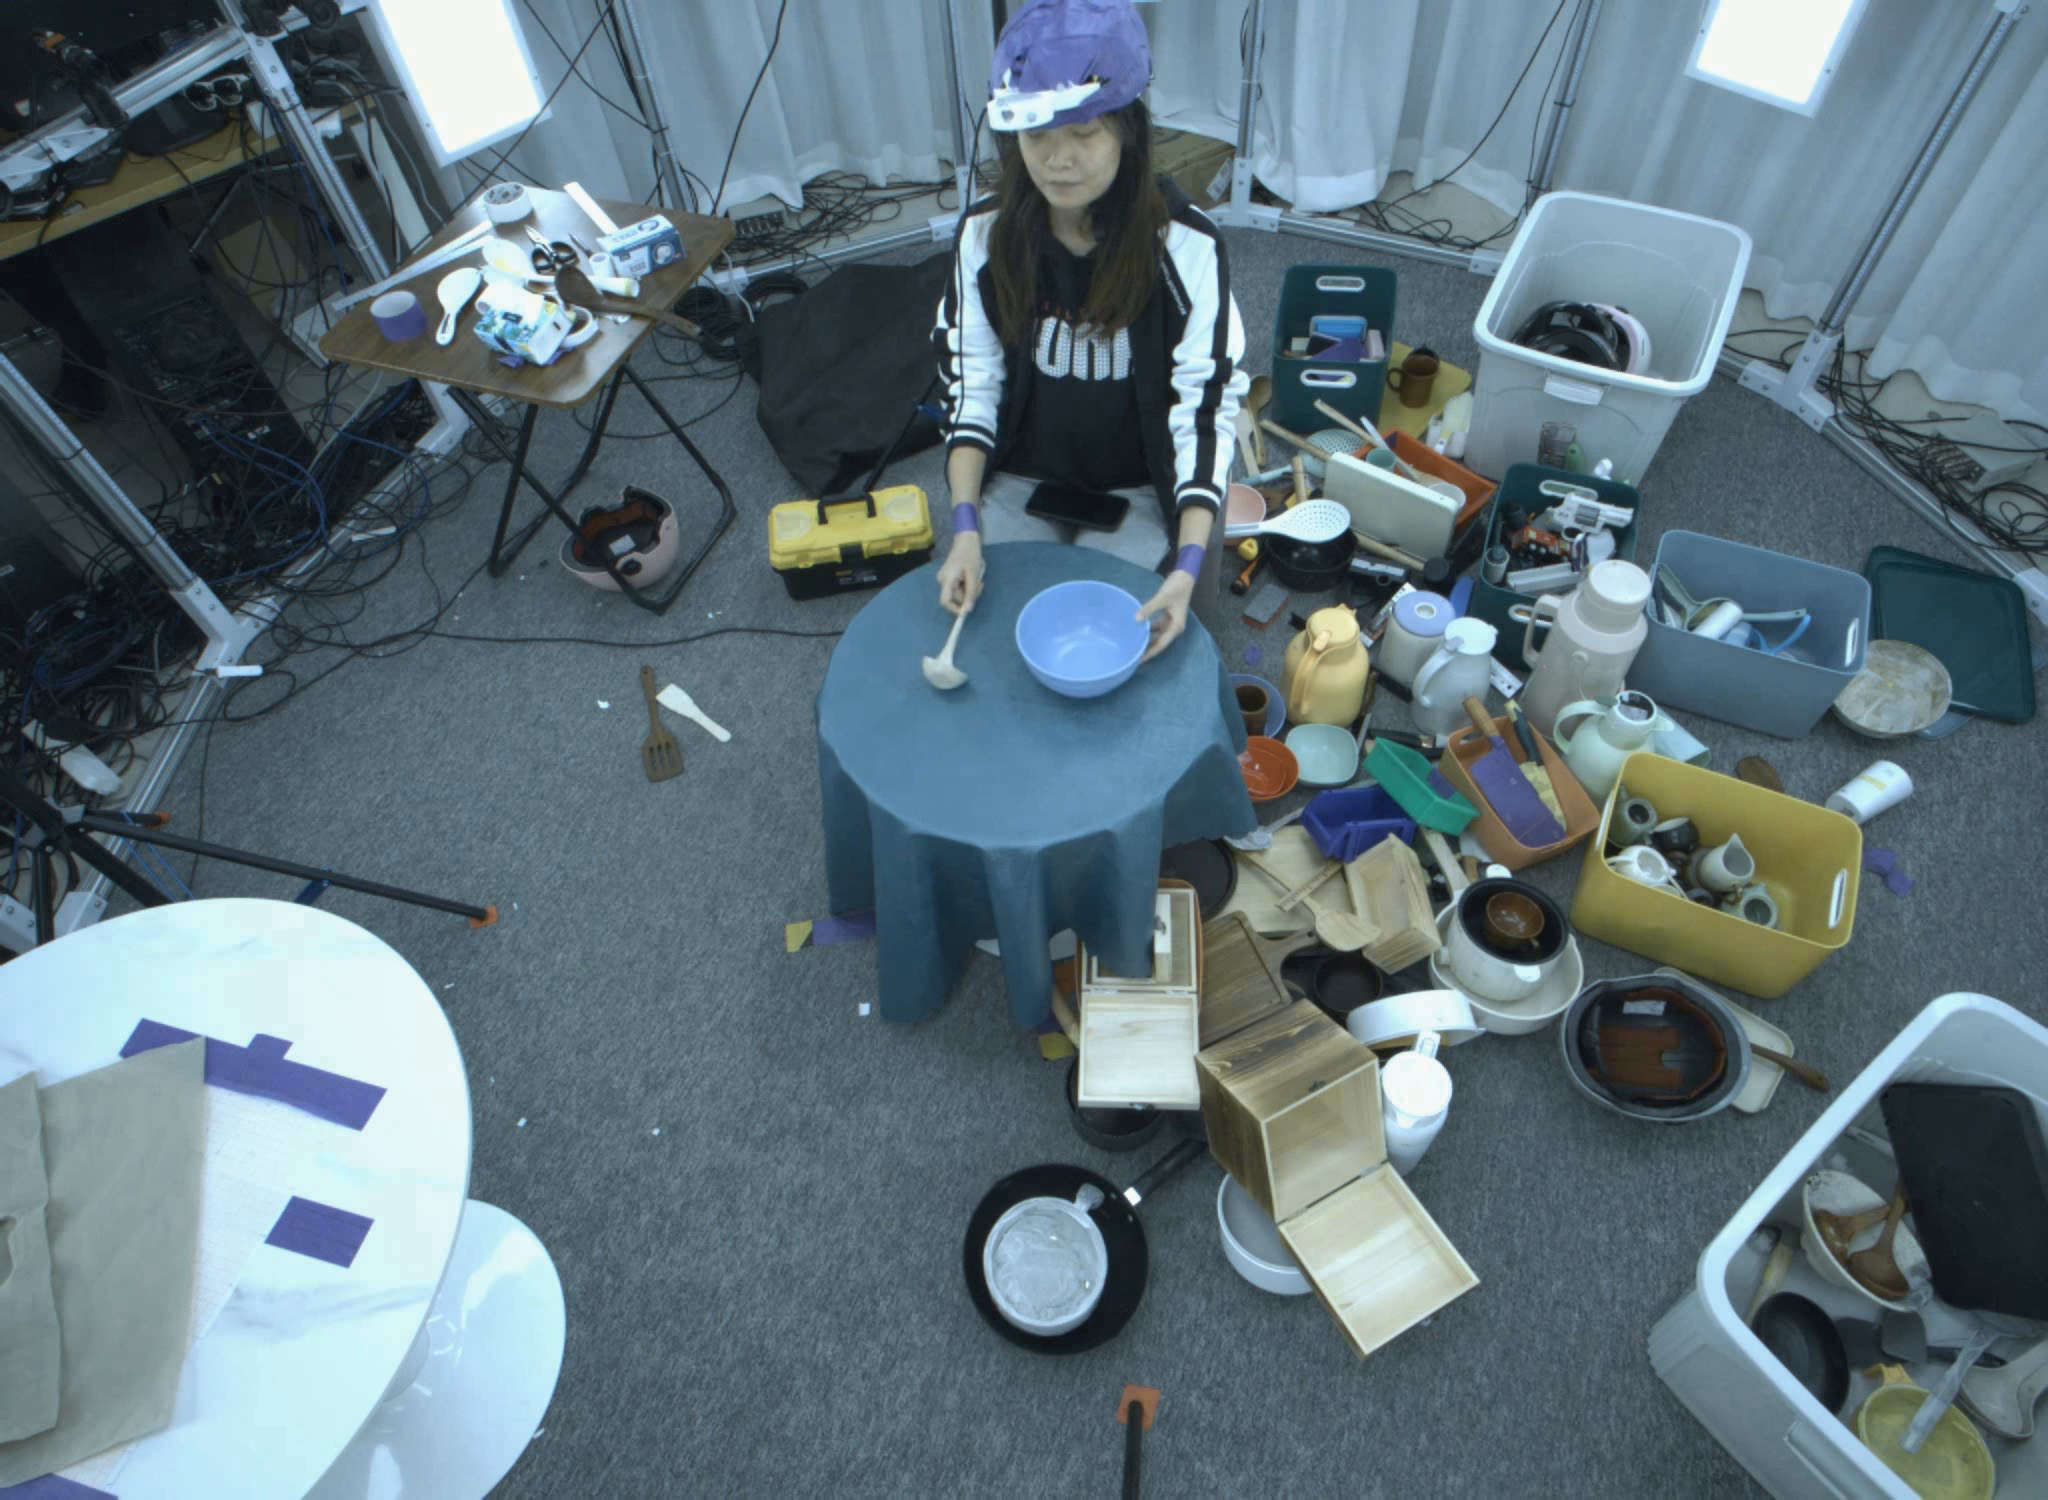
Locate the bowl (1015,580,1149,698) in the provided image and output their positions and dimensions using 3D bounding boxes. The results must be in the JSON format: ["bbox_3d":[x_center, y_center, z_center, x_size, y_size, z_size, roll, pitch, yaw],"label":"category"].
[{"bbox_3d":[0.089,-0.150,1.835,0.196,0.096,0.194,-2,55,4],"label":"bowl"}]

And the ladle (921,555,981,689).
[{"bbox_3d":[-0.095,-0.211,1.875,0.073,0.072,0.253,21,65,-14],"label":"ladle"}]
